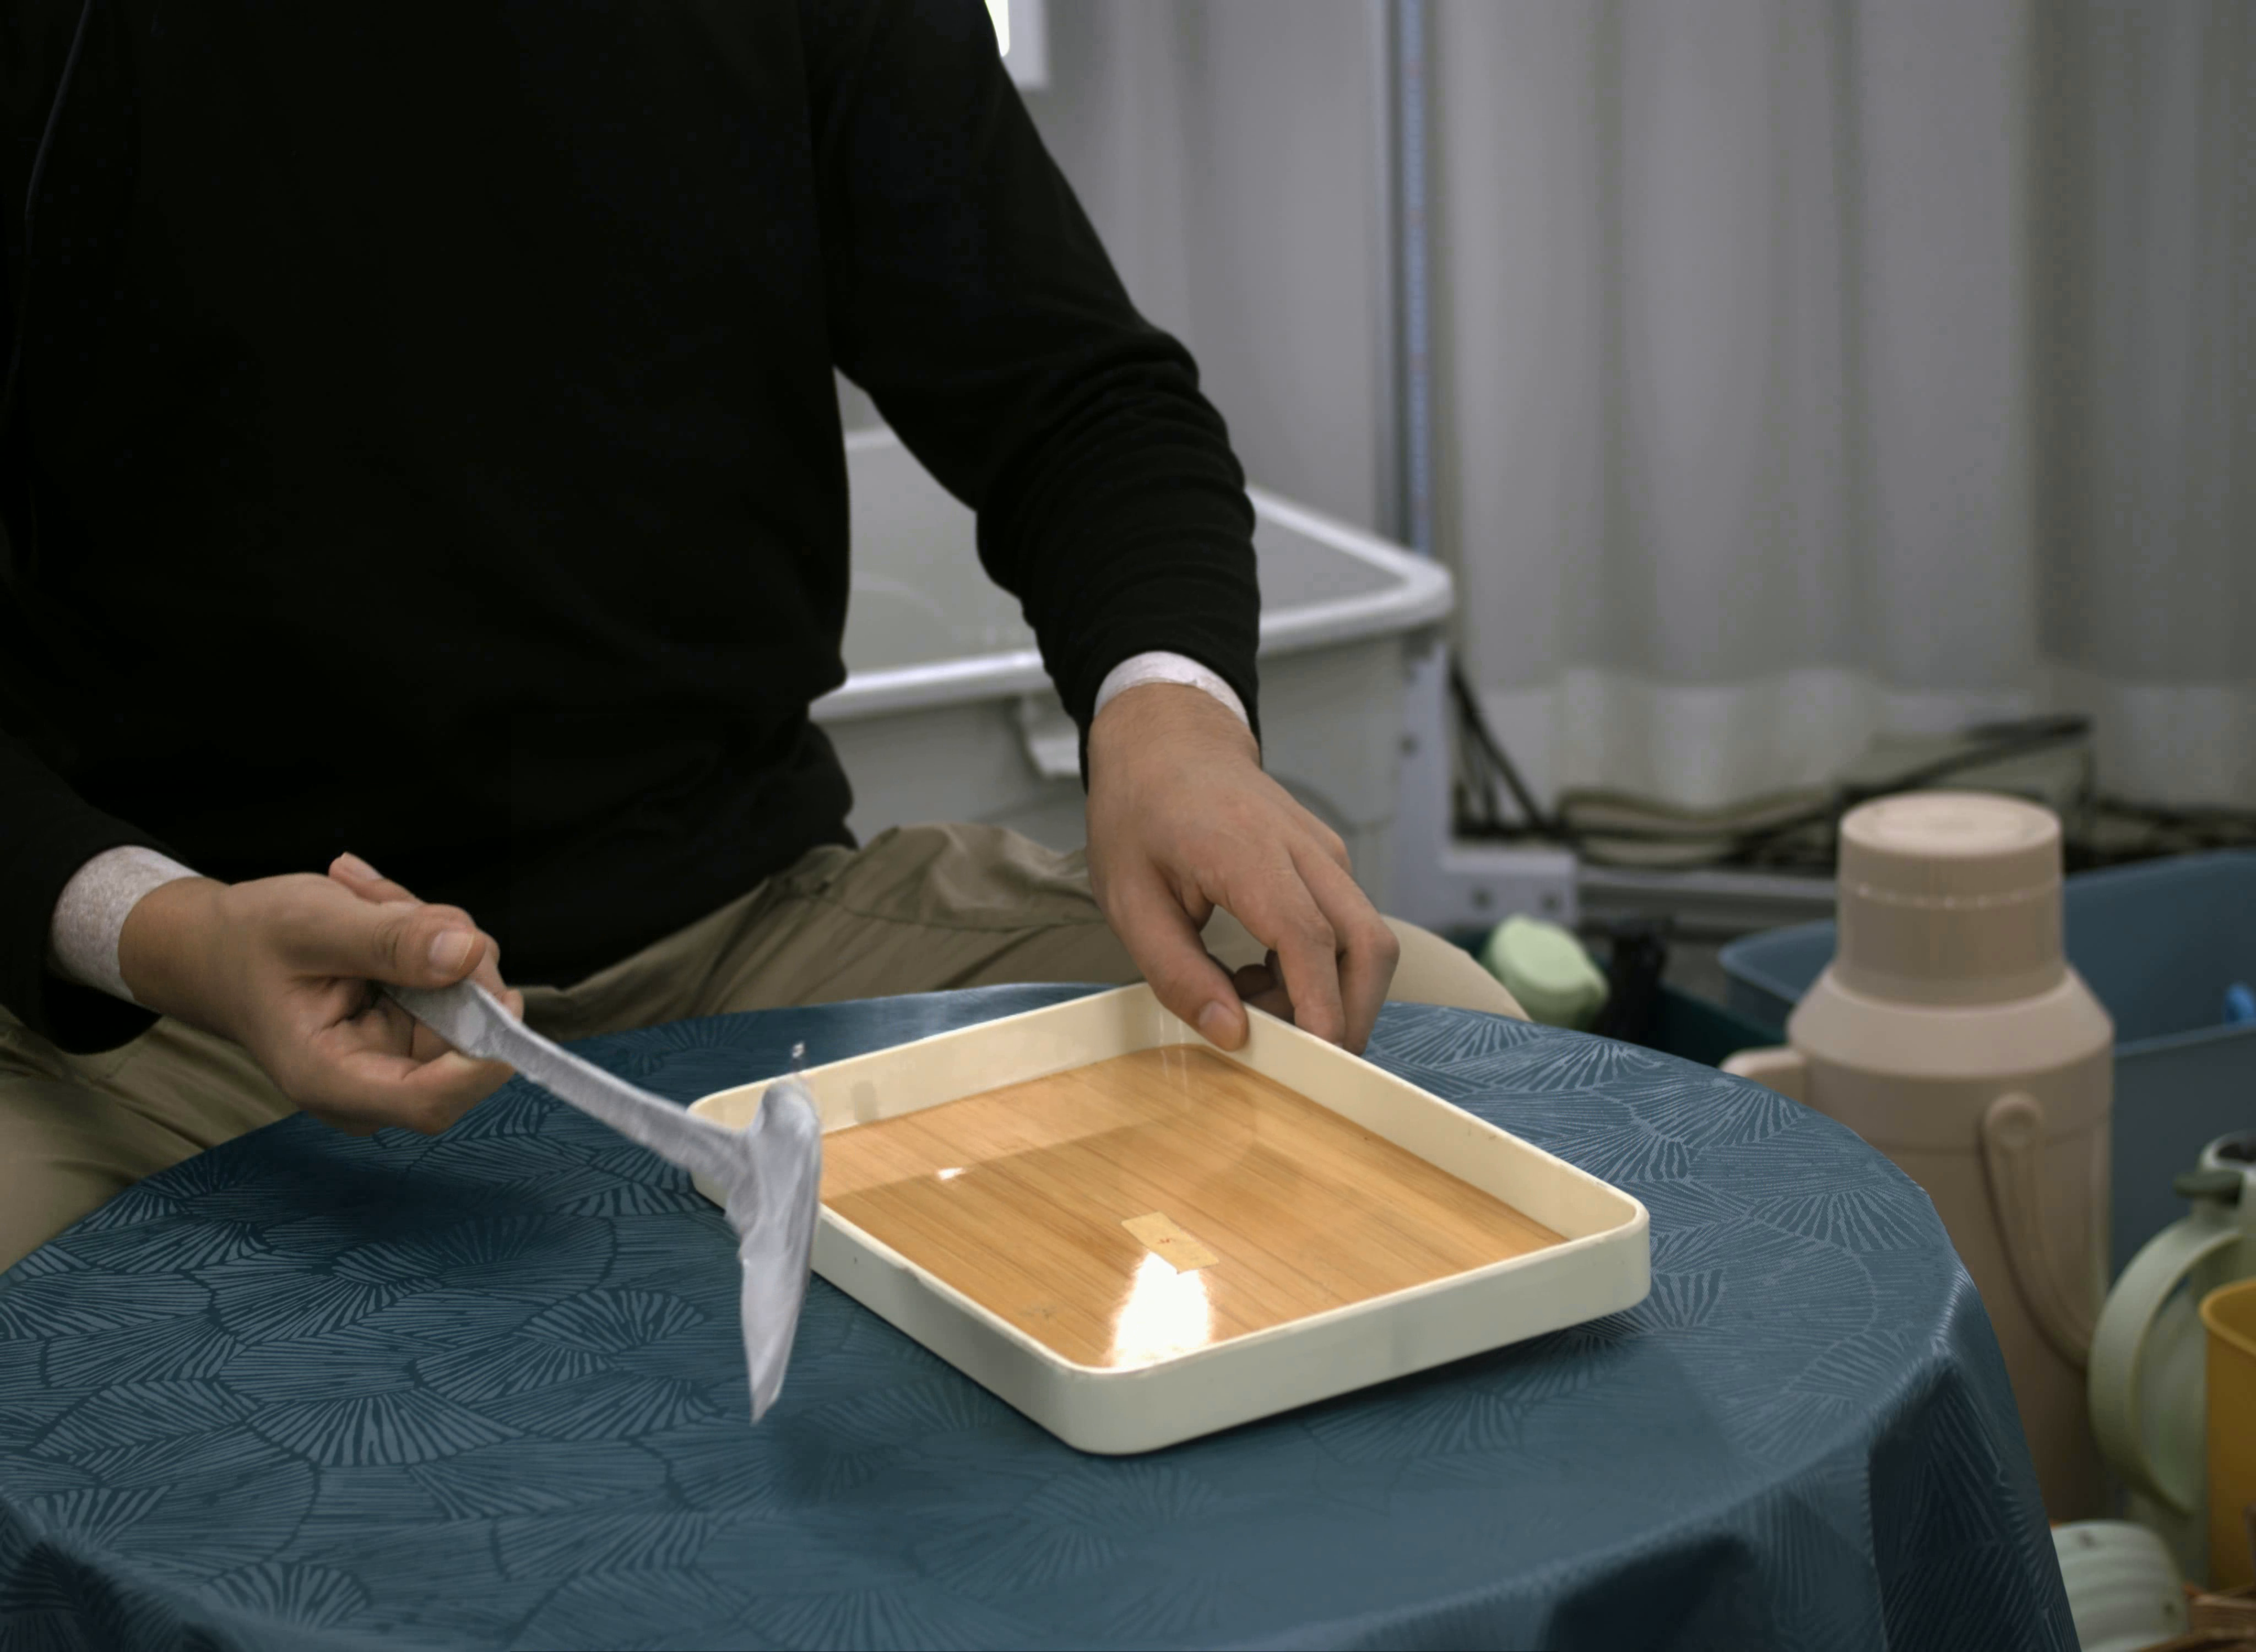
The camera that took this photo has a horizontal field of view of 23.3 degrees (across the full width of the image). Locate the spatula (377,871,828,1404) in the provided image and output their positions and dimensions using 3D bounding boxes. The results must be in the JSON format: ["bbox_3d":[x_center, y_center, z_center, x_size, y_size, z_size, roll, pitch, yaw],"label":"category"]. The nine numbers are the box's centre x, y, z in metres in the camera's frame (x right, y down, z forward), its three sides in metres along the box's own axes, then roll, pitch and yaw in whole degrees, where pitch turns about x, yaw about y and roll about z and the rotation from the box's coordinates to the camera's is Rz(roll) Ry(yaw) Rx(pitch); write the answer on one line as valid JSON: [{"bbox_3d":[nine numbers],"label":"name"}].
[{"bbox_3d":[-0.163,0.070,1.609,0.044,0.098,0.368,1,13,-33],"label":"spatula"}]

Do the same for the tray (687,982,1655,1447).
[{"bbox_3d":[0.006,0.112,1.651,0.191,0.027,0.302,-13,18,-24],"label":"tray"}]
